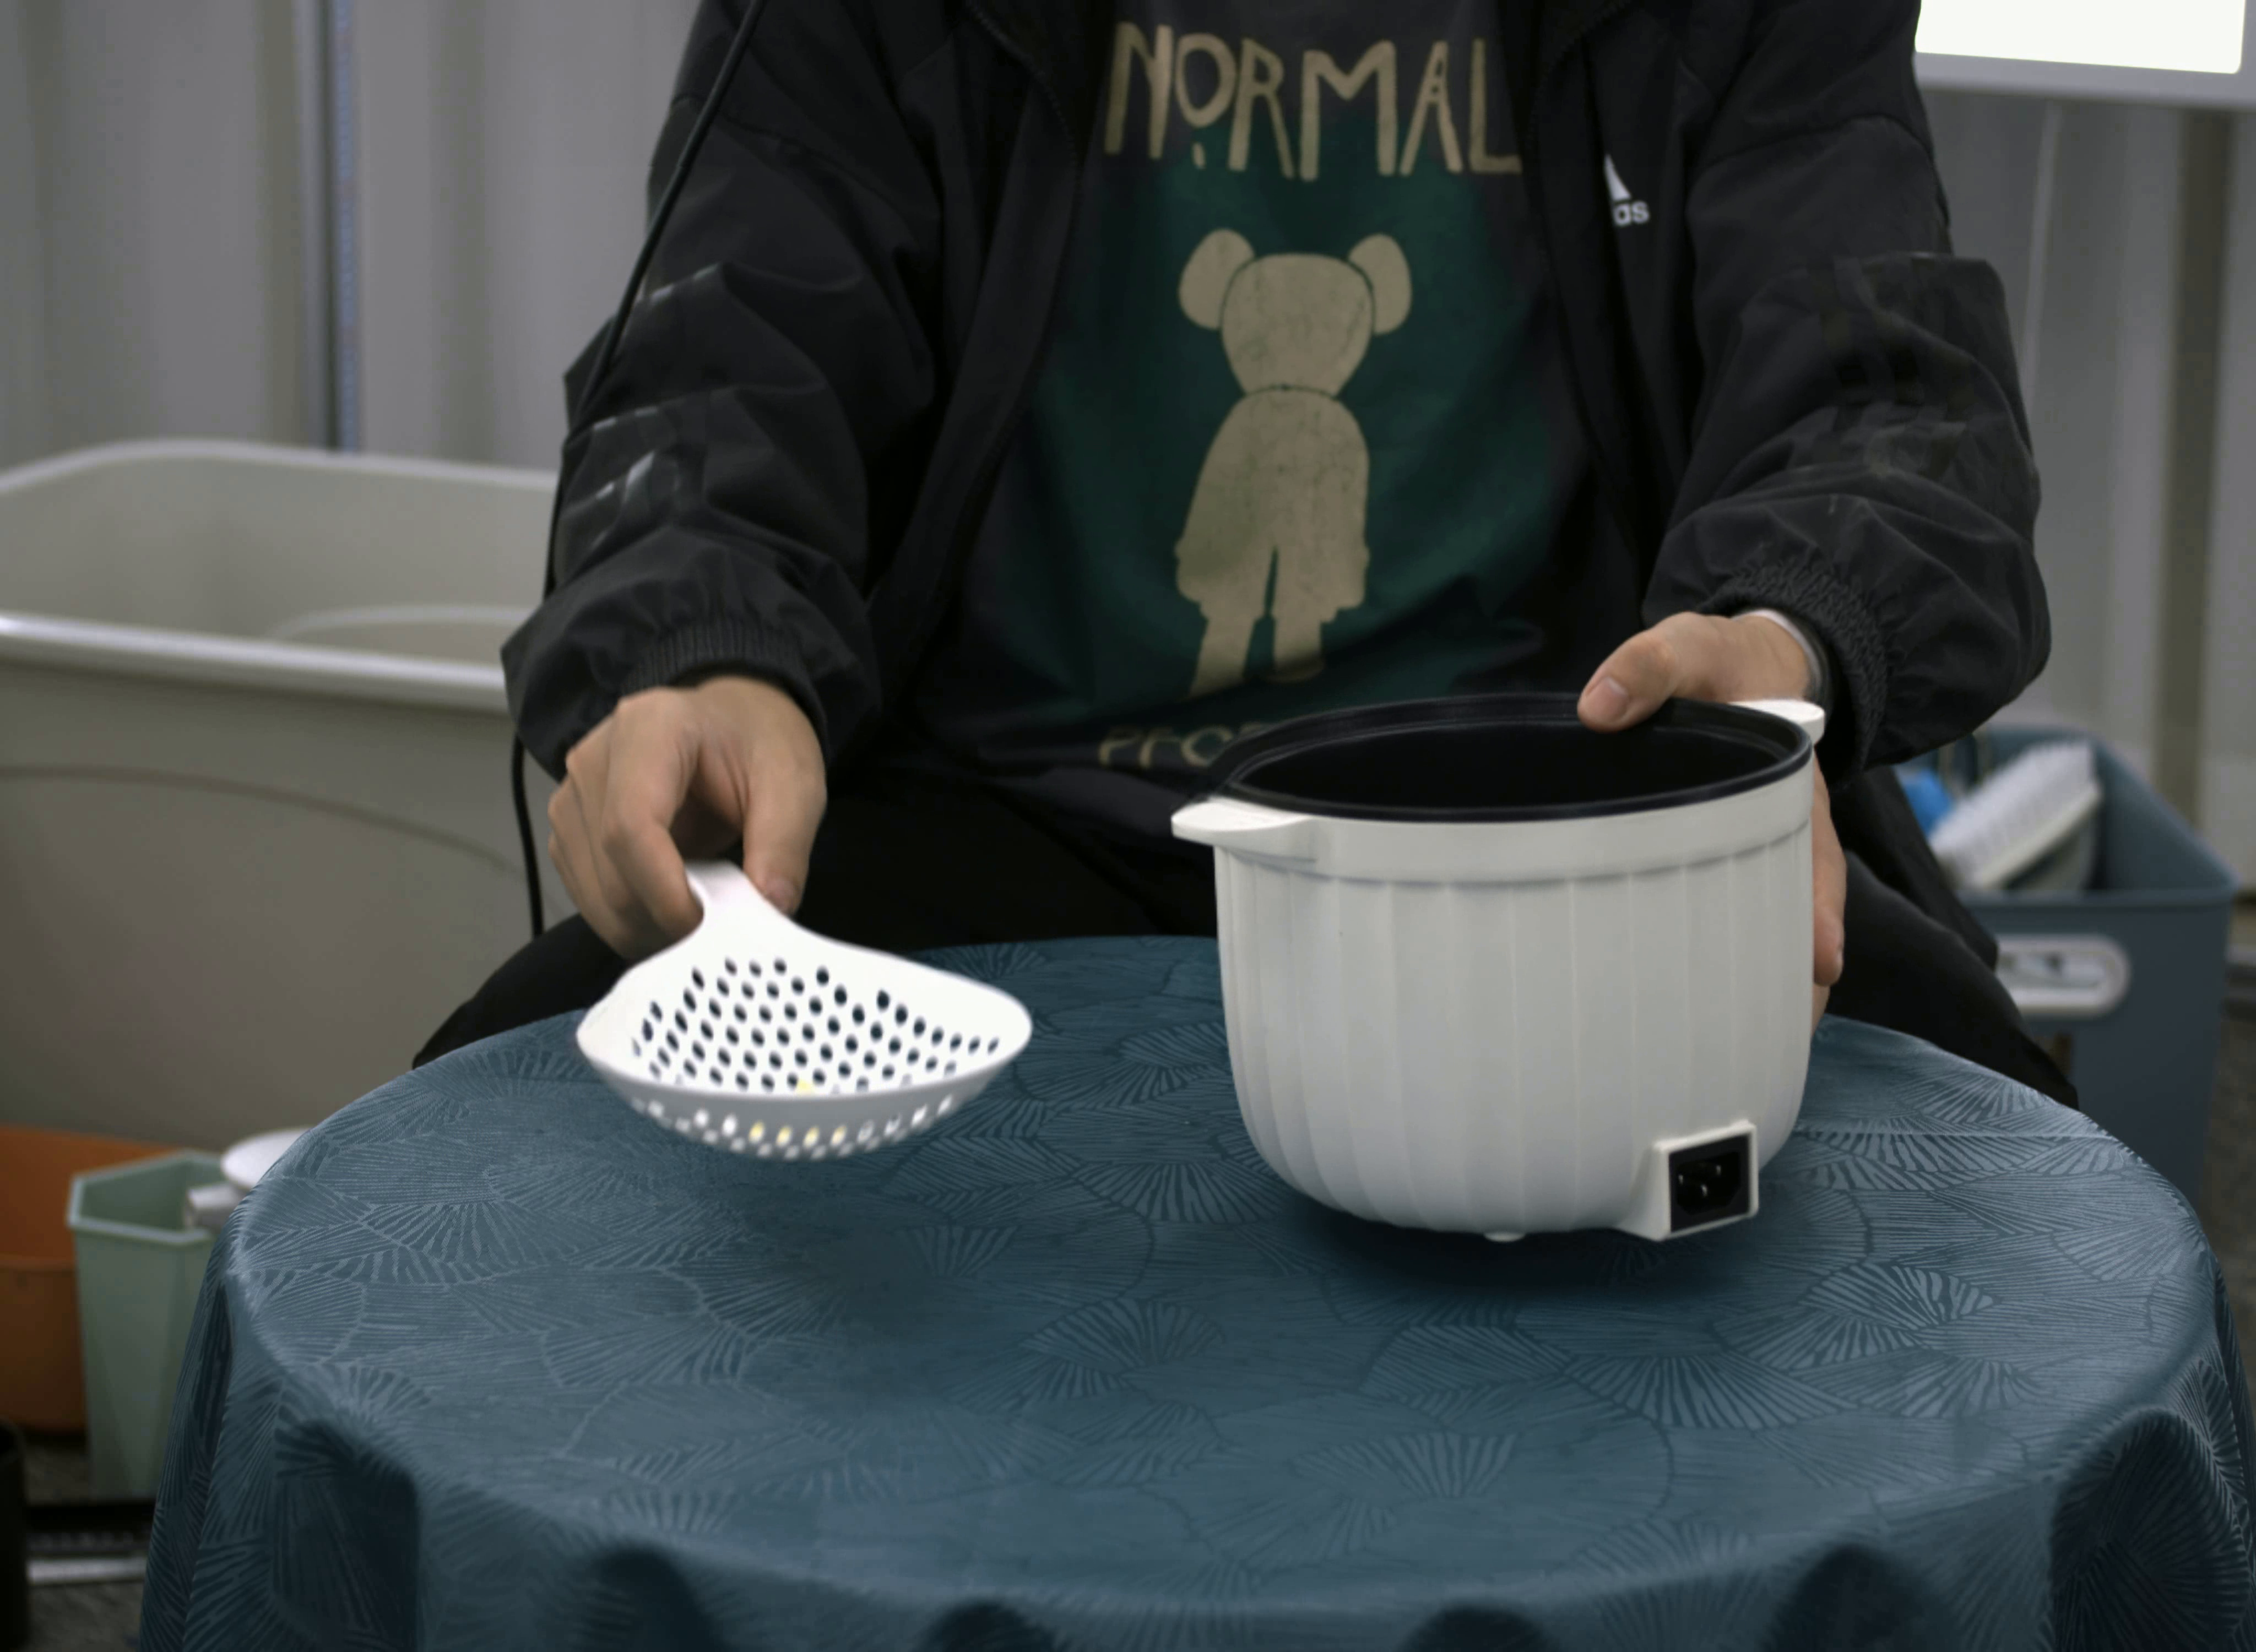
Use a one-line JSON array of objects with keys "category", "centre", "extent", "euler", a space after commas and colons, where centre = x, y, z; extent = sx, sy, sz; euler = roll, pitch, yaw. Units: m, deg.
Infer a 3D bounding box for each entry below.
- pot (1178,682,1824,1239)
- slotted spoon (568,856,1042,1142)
[{"category": "pot", "centre": [0.113, 0.039, 1.590], "extent": [0.241, 0.144, 0.188], "euler": [-10, 17, -35]}, {"category": "slotted spoon", "centre": [-0.119, 0.039, 1.633], "extent": [0.137, 0.051, 0.344], "euler": [-4, 17, -13]}]
